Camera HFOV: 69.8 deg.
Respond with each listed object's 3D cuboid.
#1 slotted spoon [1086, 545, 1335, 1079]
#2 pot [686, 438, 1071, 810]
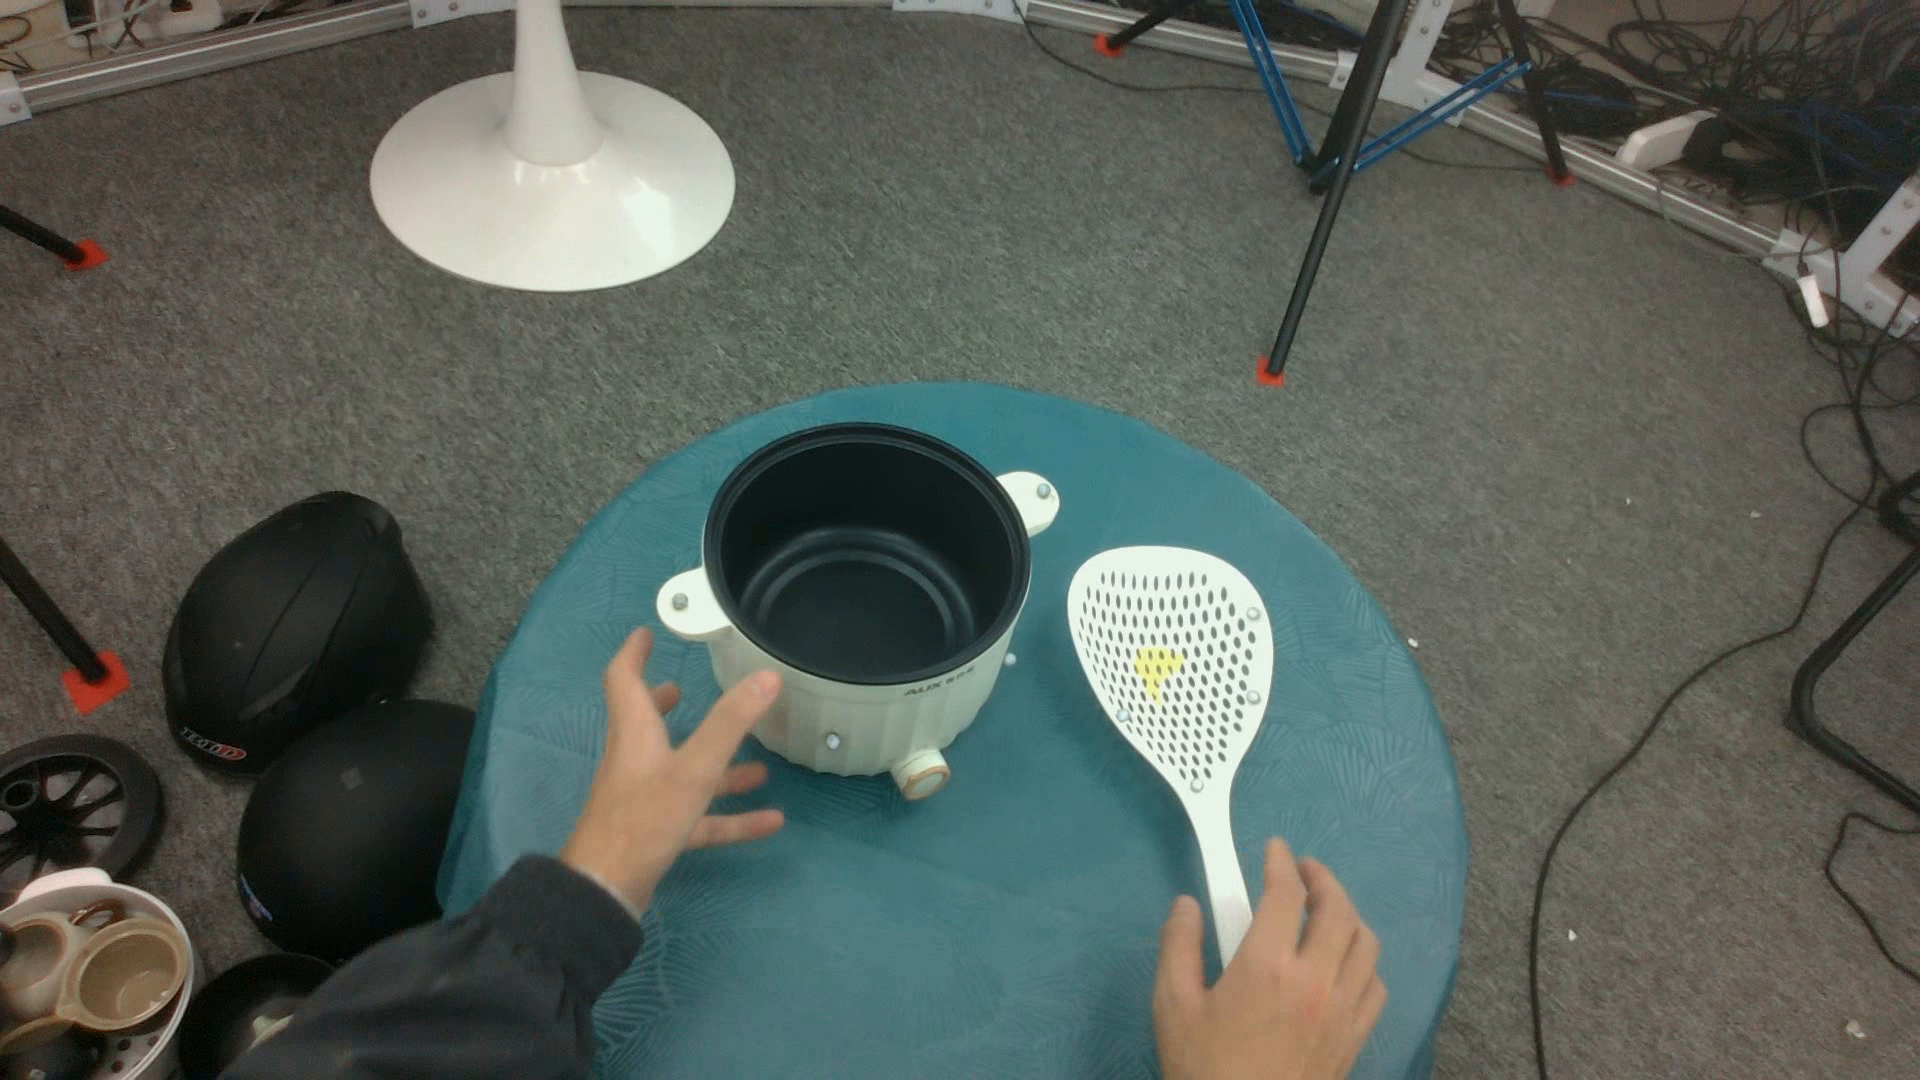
[{"bbox_3d":[0.163,0.151,0.828,0.137,0.050,0.349,-3,50,-10],"label":"slotted spoon"},{"bbox_3d":[-0.041,0.056,0.819,0.241,0.142,0.191,-22,54,-21],"label":"pot"}]
